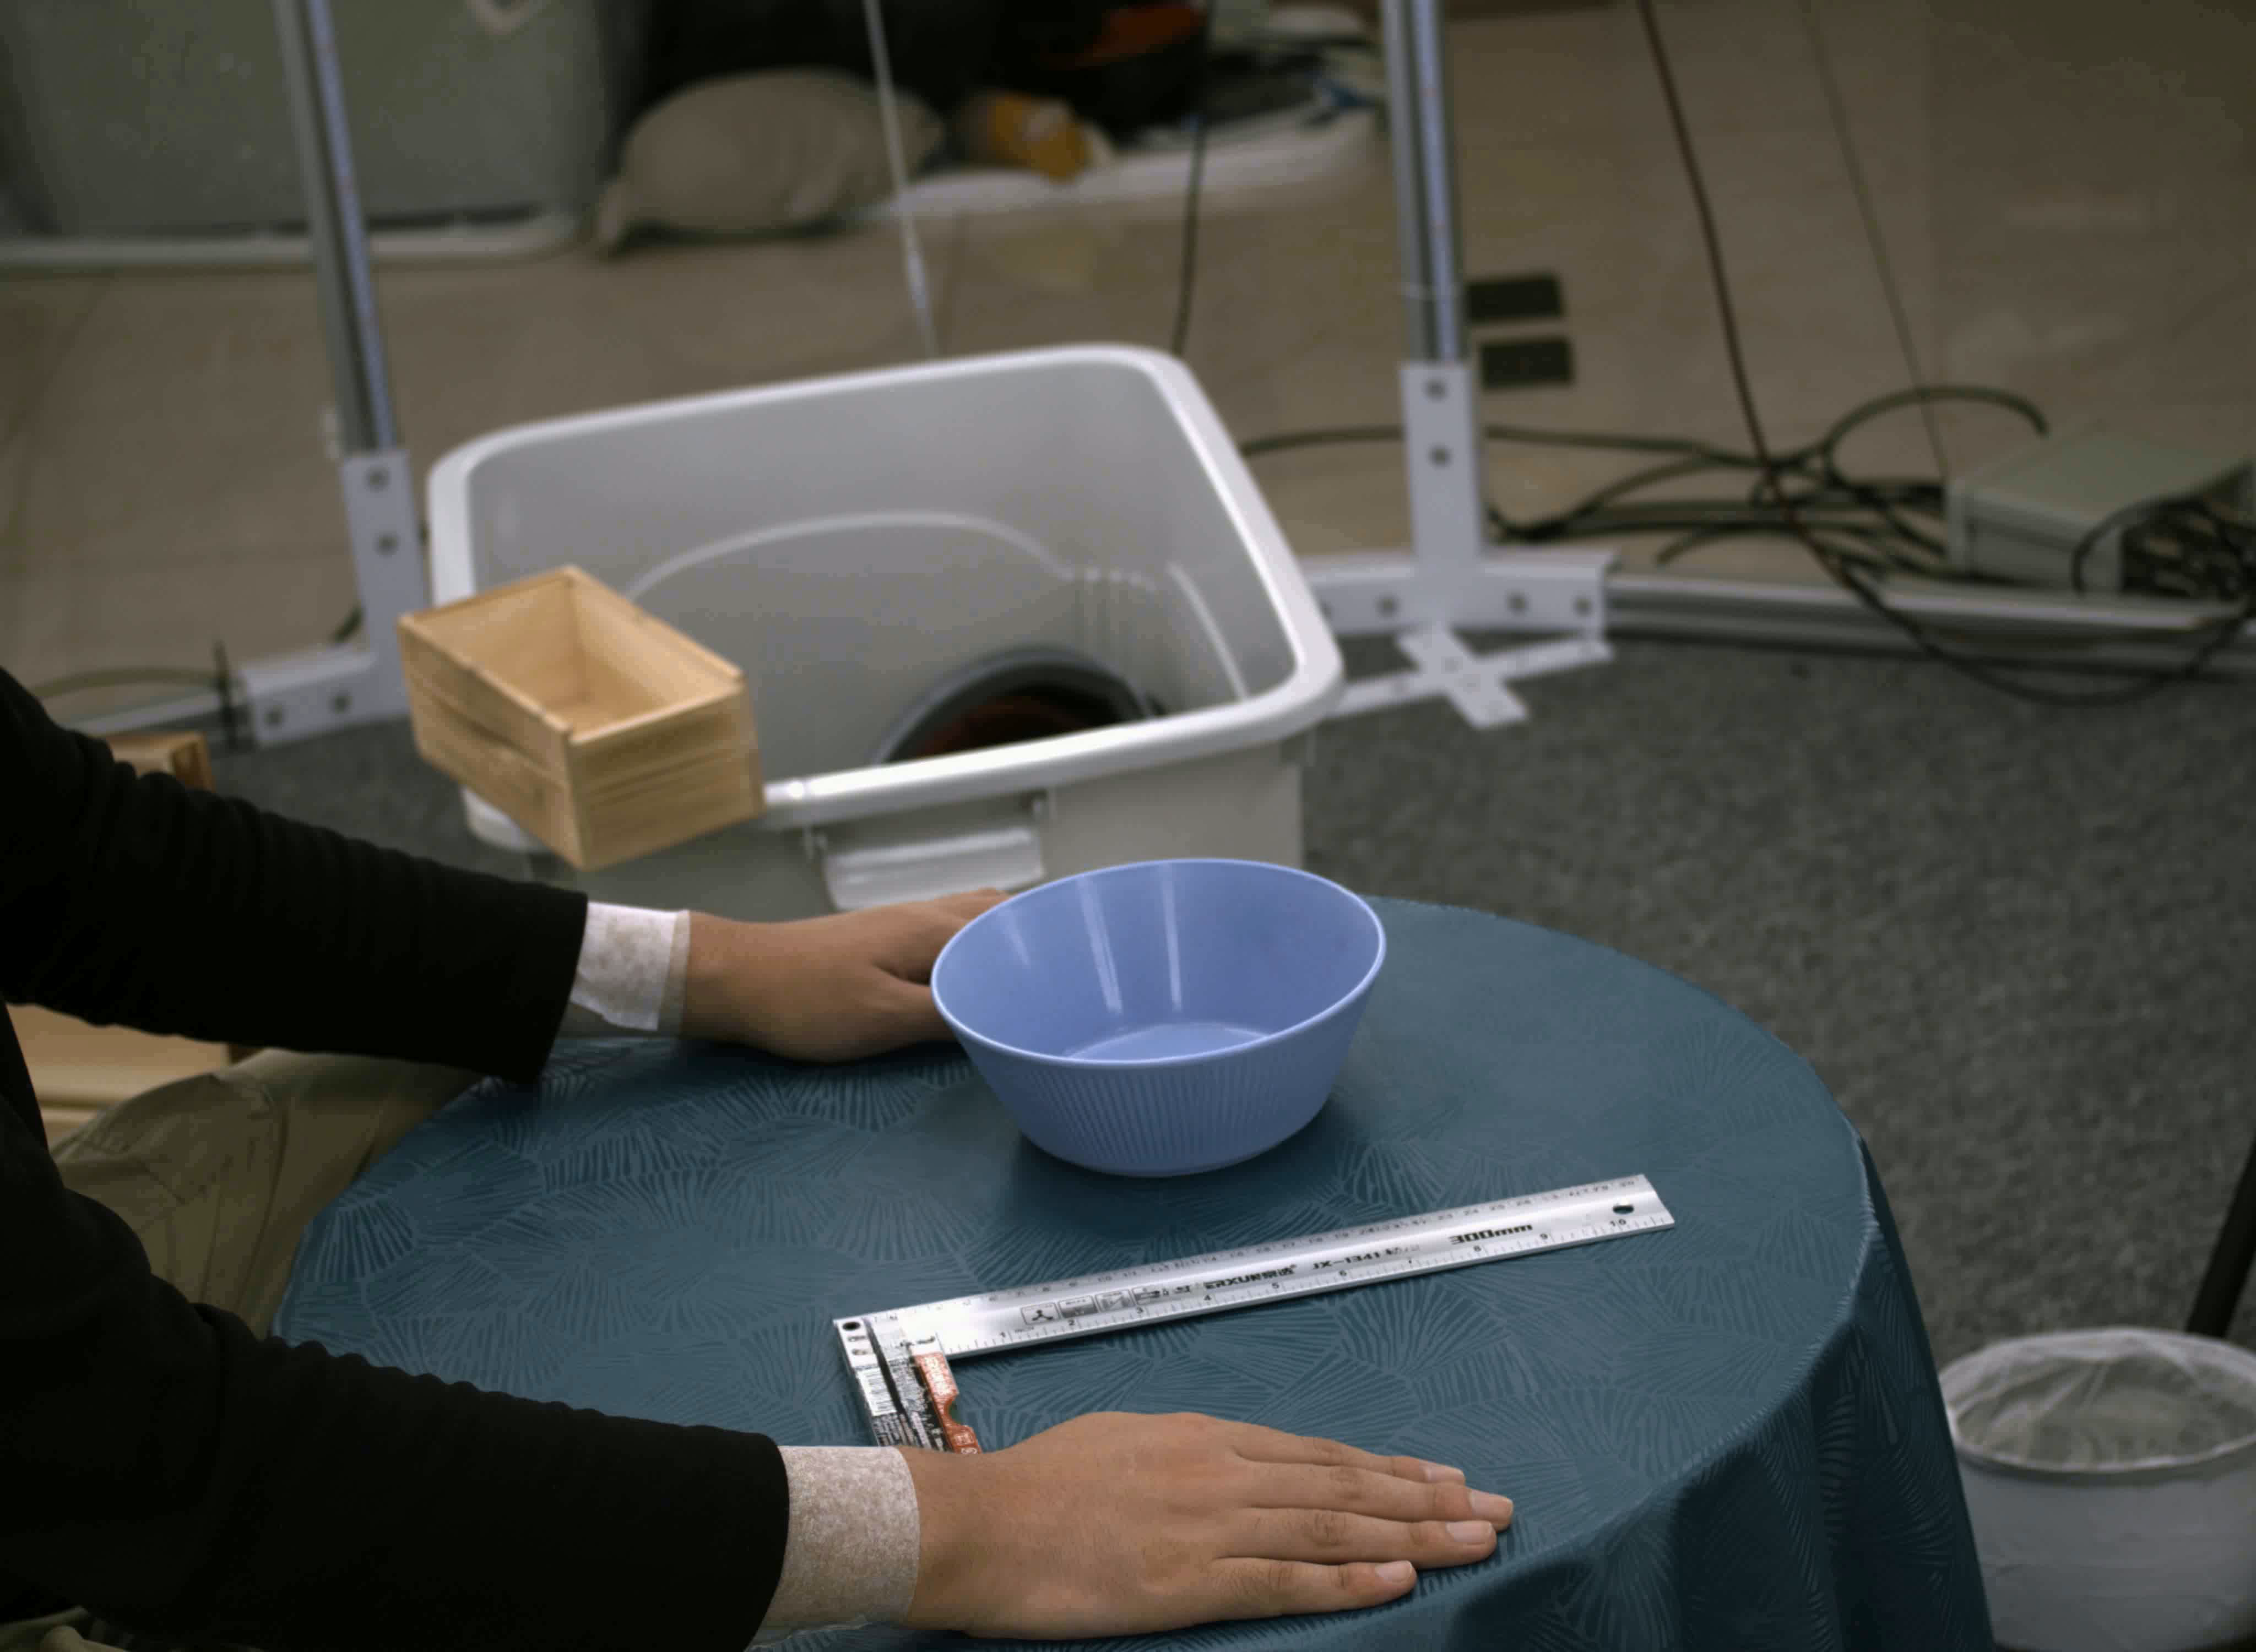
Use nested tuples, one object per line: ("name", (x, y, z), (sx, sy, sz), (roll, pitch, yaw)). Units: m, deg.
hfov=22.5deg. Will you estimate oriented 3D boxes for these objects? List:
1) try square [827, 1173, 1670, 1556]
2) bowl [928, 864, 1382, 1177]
("try square", (0.055, 0.187, 2.028), (0.312, 0.016, 0.150), (-9, 28, -9))
("bowl", (0.013, 0.080, 2.188), (0.176, 0.071, 0.173), (-5, 25, 2))
